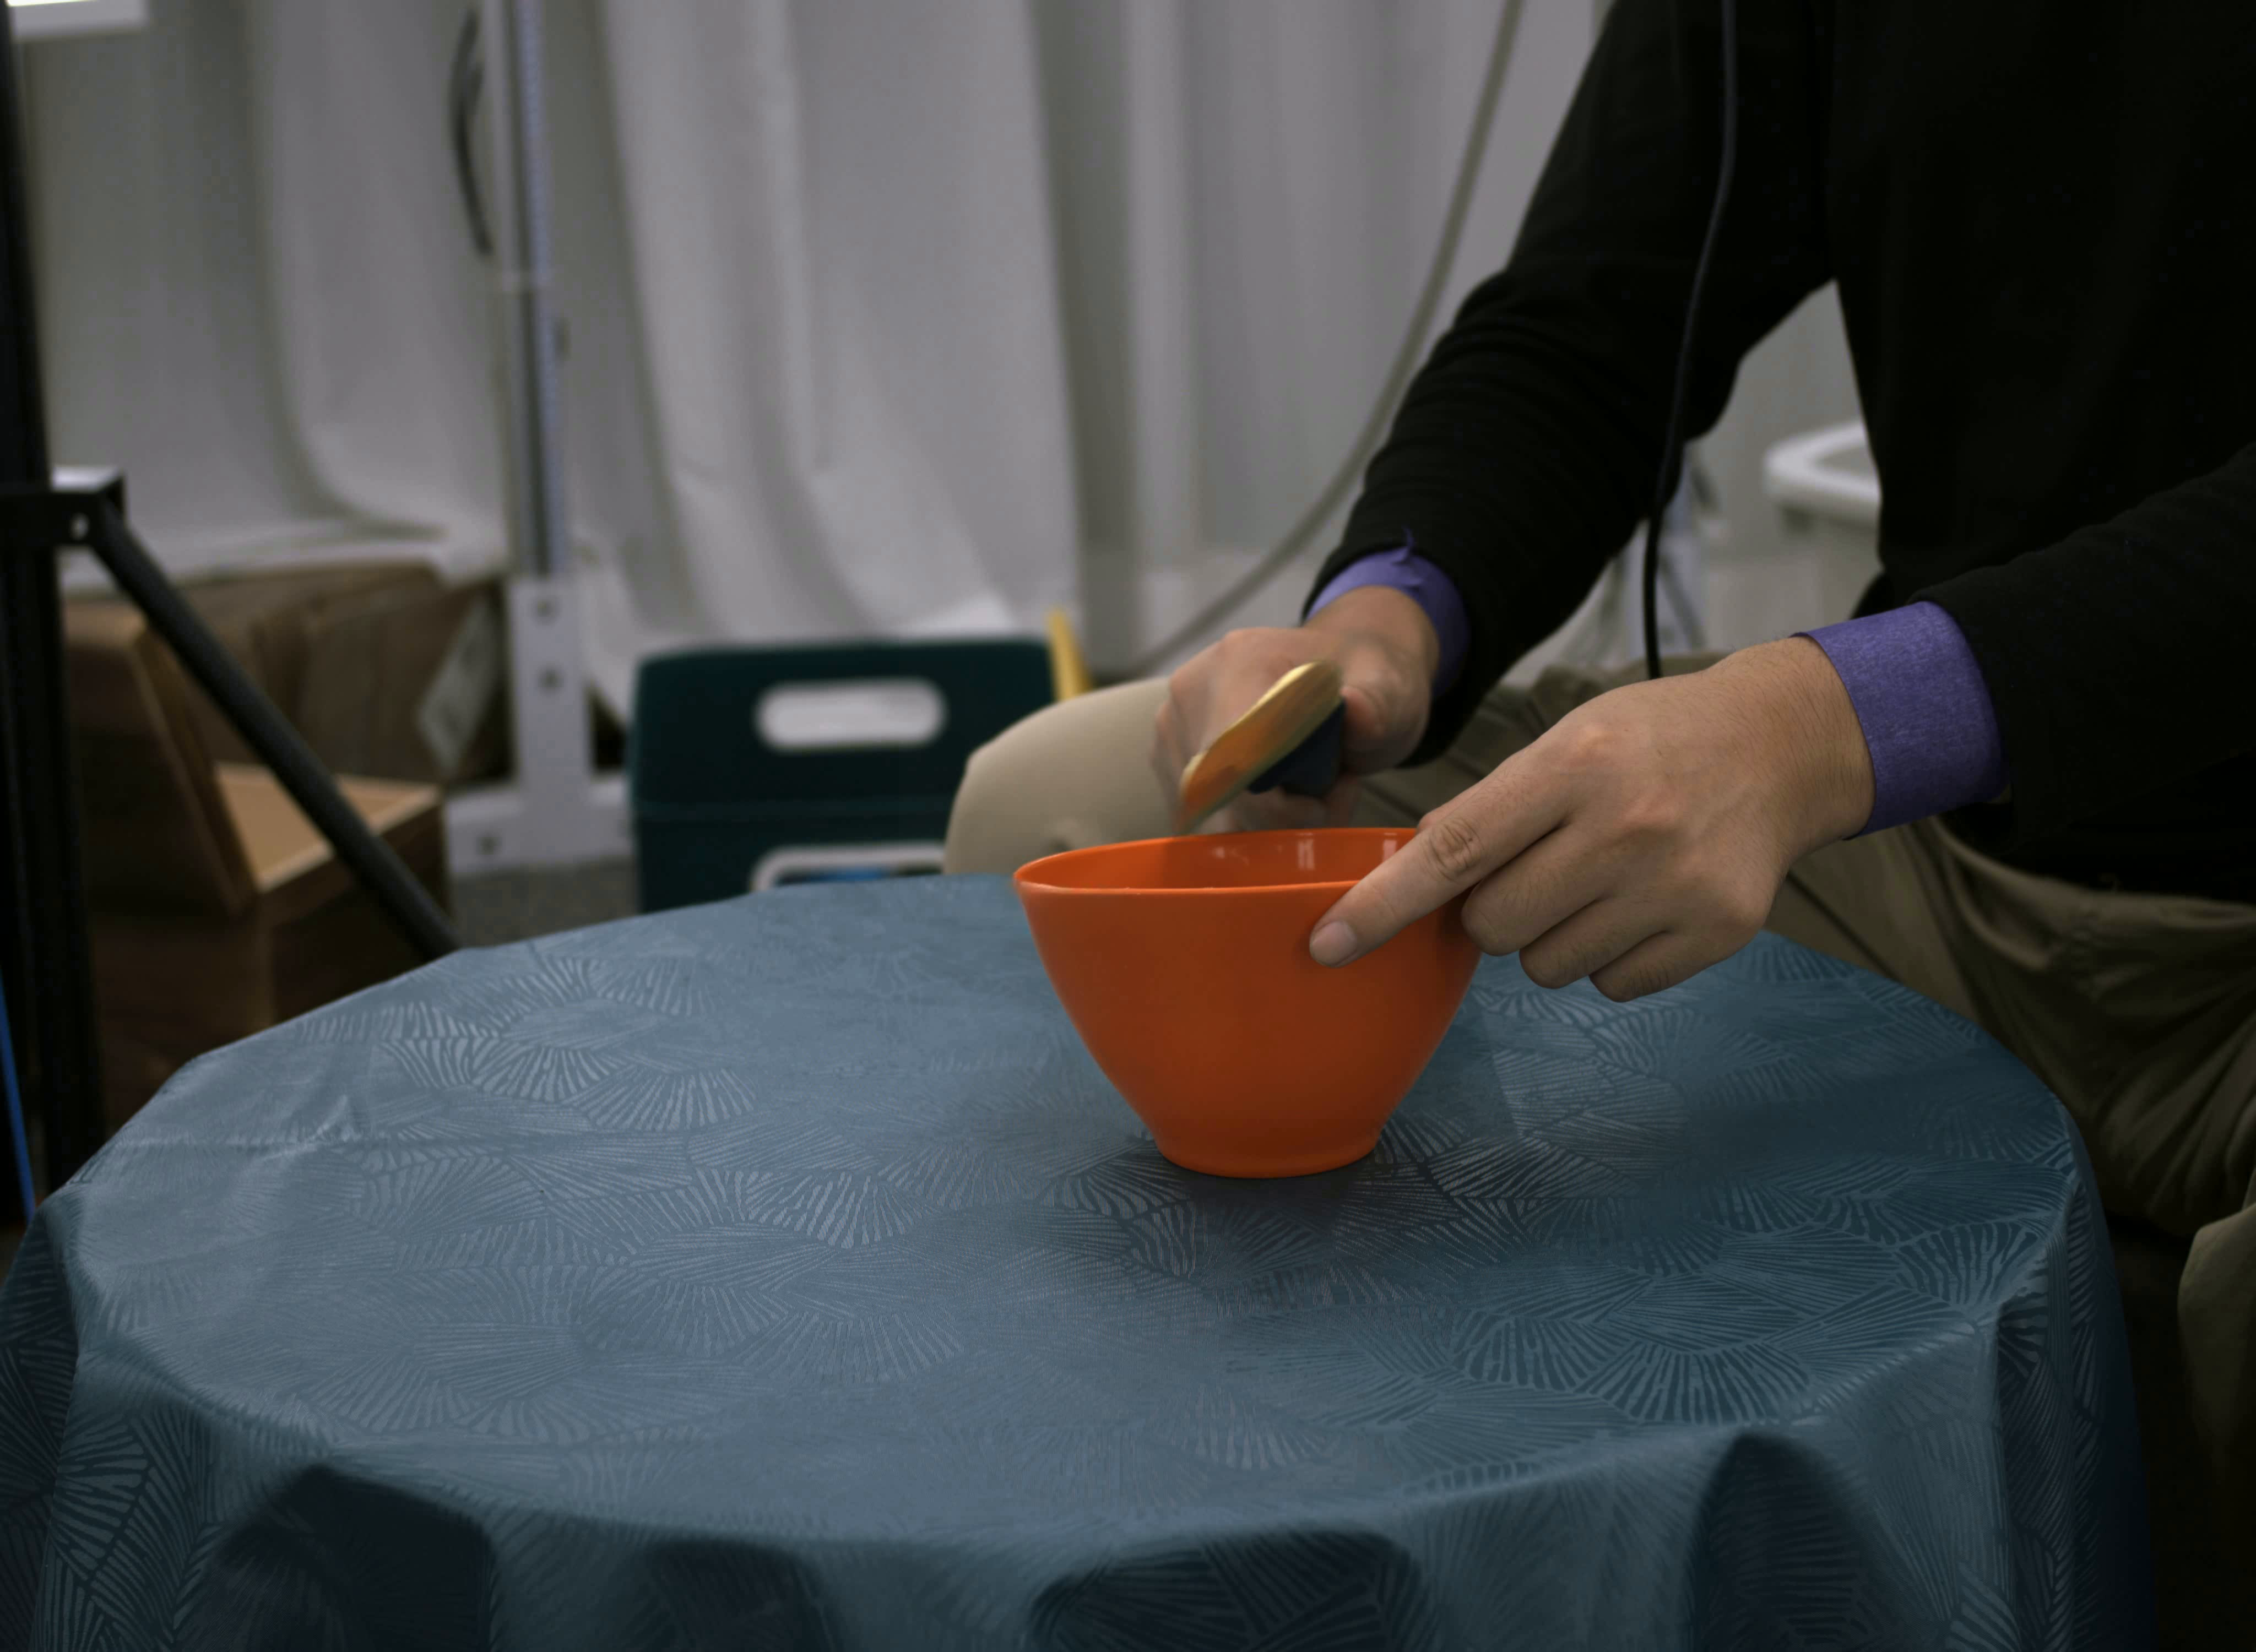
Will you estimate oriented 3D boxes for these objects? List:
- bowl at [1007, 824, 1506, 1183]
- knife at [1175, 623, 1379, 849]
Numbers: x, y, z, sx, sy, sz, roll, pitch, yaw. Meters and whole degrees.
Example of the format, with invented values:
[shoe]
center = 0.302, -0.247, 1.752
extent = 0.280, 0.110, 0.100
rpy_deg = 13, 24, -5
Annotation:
[bowl]
center = 0.040, 0.050, 1.568
extent = 0.147, 0.104, 0.149
rpy_deg = -4, 15, 0
[knife]
center = 0.046, -0.018, 1.650
extent = 0.081, 0.027, 0.288
rpy_deg = -39, -8, -4
